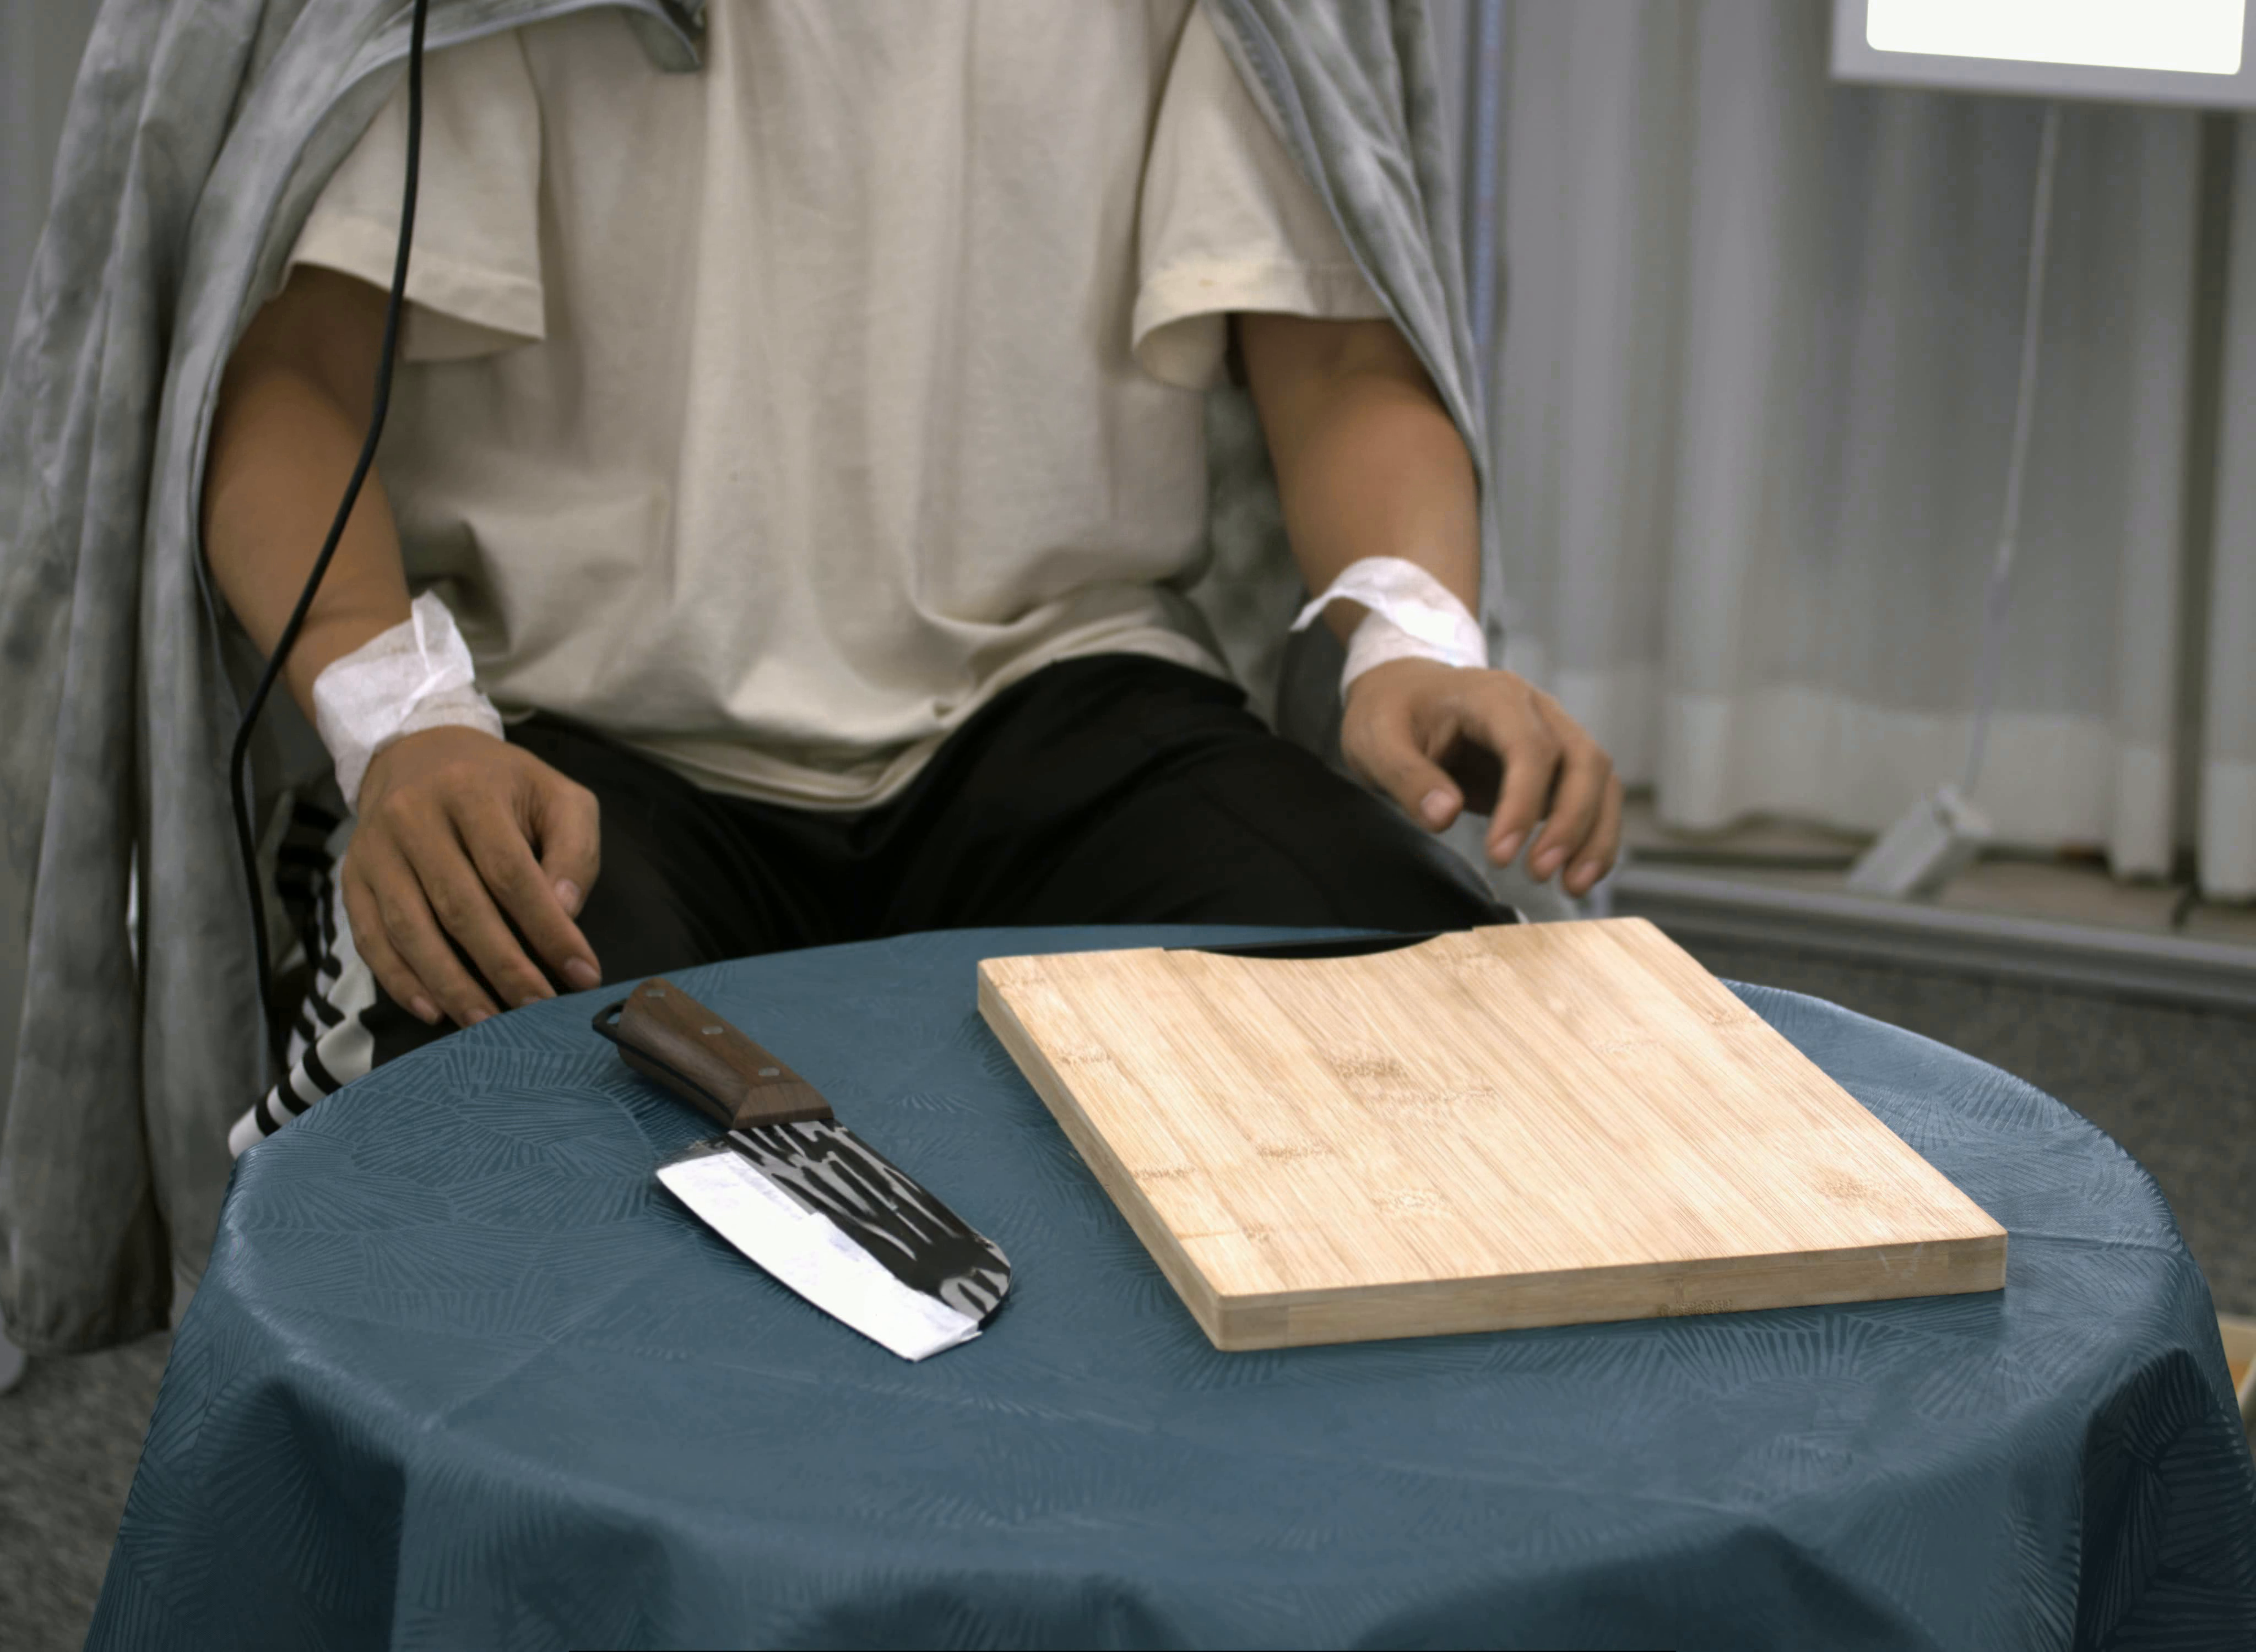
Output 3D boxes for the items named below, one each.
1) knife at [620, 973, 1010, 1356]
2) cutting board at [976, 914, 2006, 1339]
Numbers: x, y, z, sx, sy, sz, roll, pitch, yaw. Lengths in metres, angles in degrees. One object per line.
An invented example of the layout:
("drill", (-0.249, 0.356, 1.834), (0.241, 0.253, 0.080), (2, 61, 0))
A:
("knife", (-0.109, 0.103, 1.618), (0.068, 0.024, 0.295), (-9, 21, -25))
("cutting board", (0.103, 0.090, 1.681), (0.251, 0.024, 0.345), (-3, 16, -14))
